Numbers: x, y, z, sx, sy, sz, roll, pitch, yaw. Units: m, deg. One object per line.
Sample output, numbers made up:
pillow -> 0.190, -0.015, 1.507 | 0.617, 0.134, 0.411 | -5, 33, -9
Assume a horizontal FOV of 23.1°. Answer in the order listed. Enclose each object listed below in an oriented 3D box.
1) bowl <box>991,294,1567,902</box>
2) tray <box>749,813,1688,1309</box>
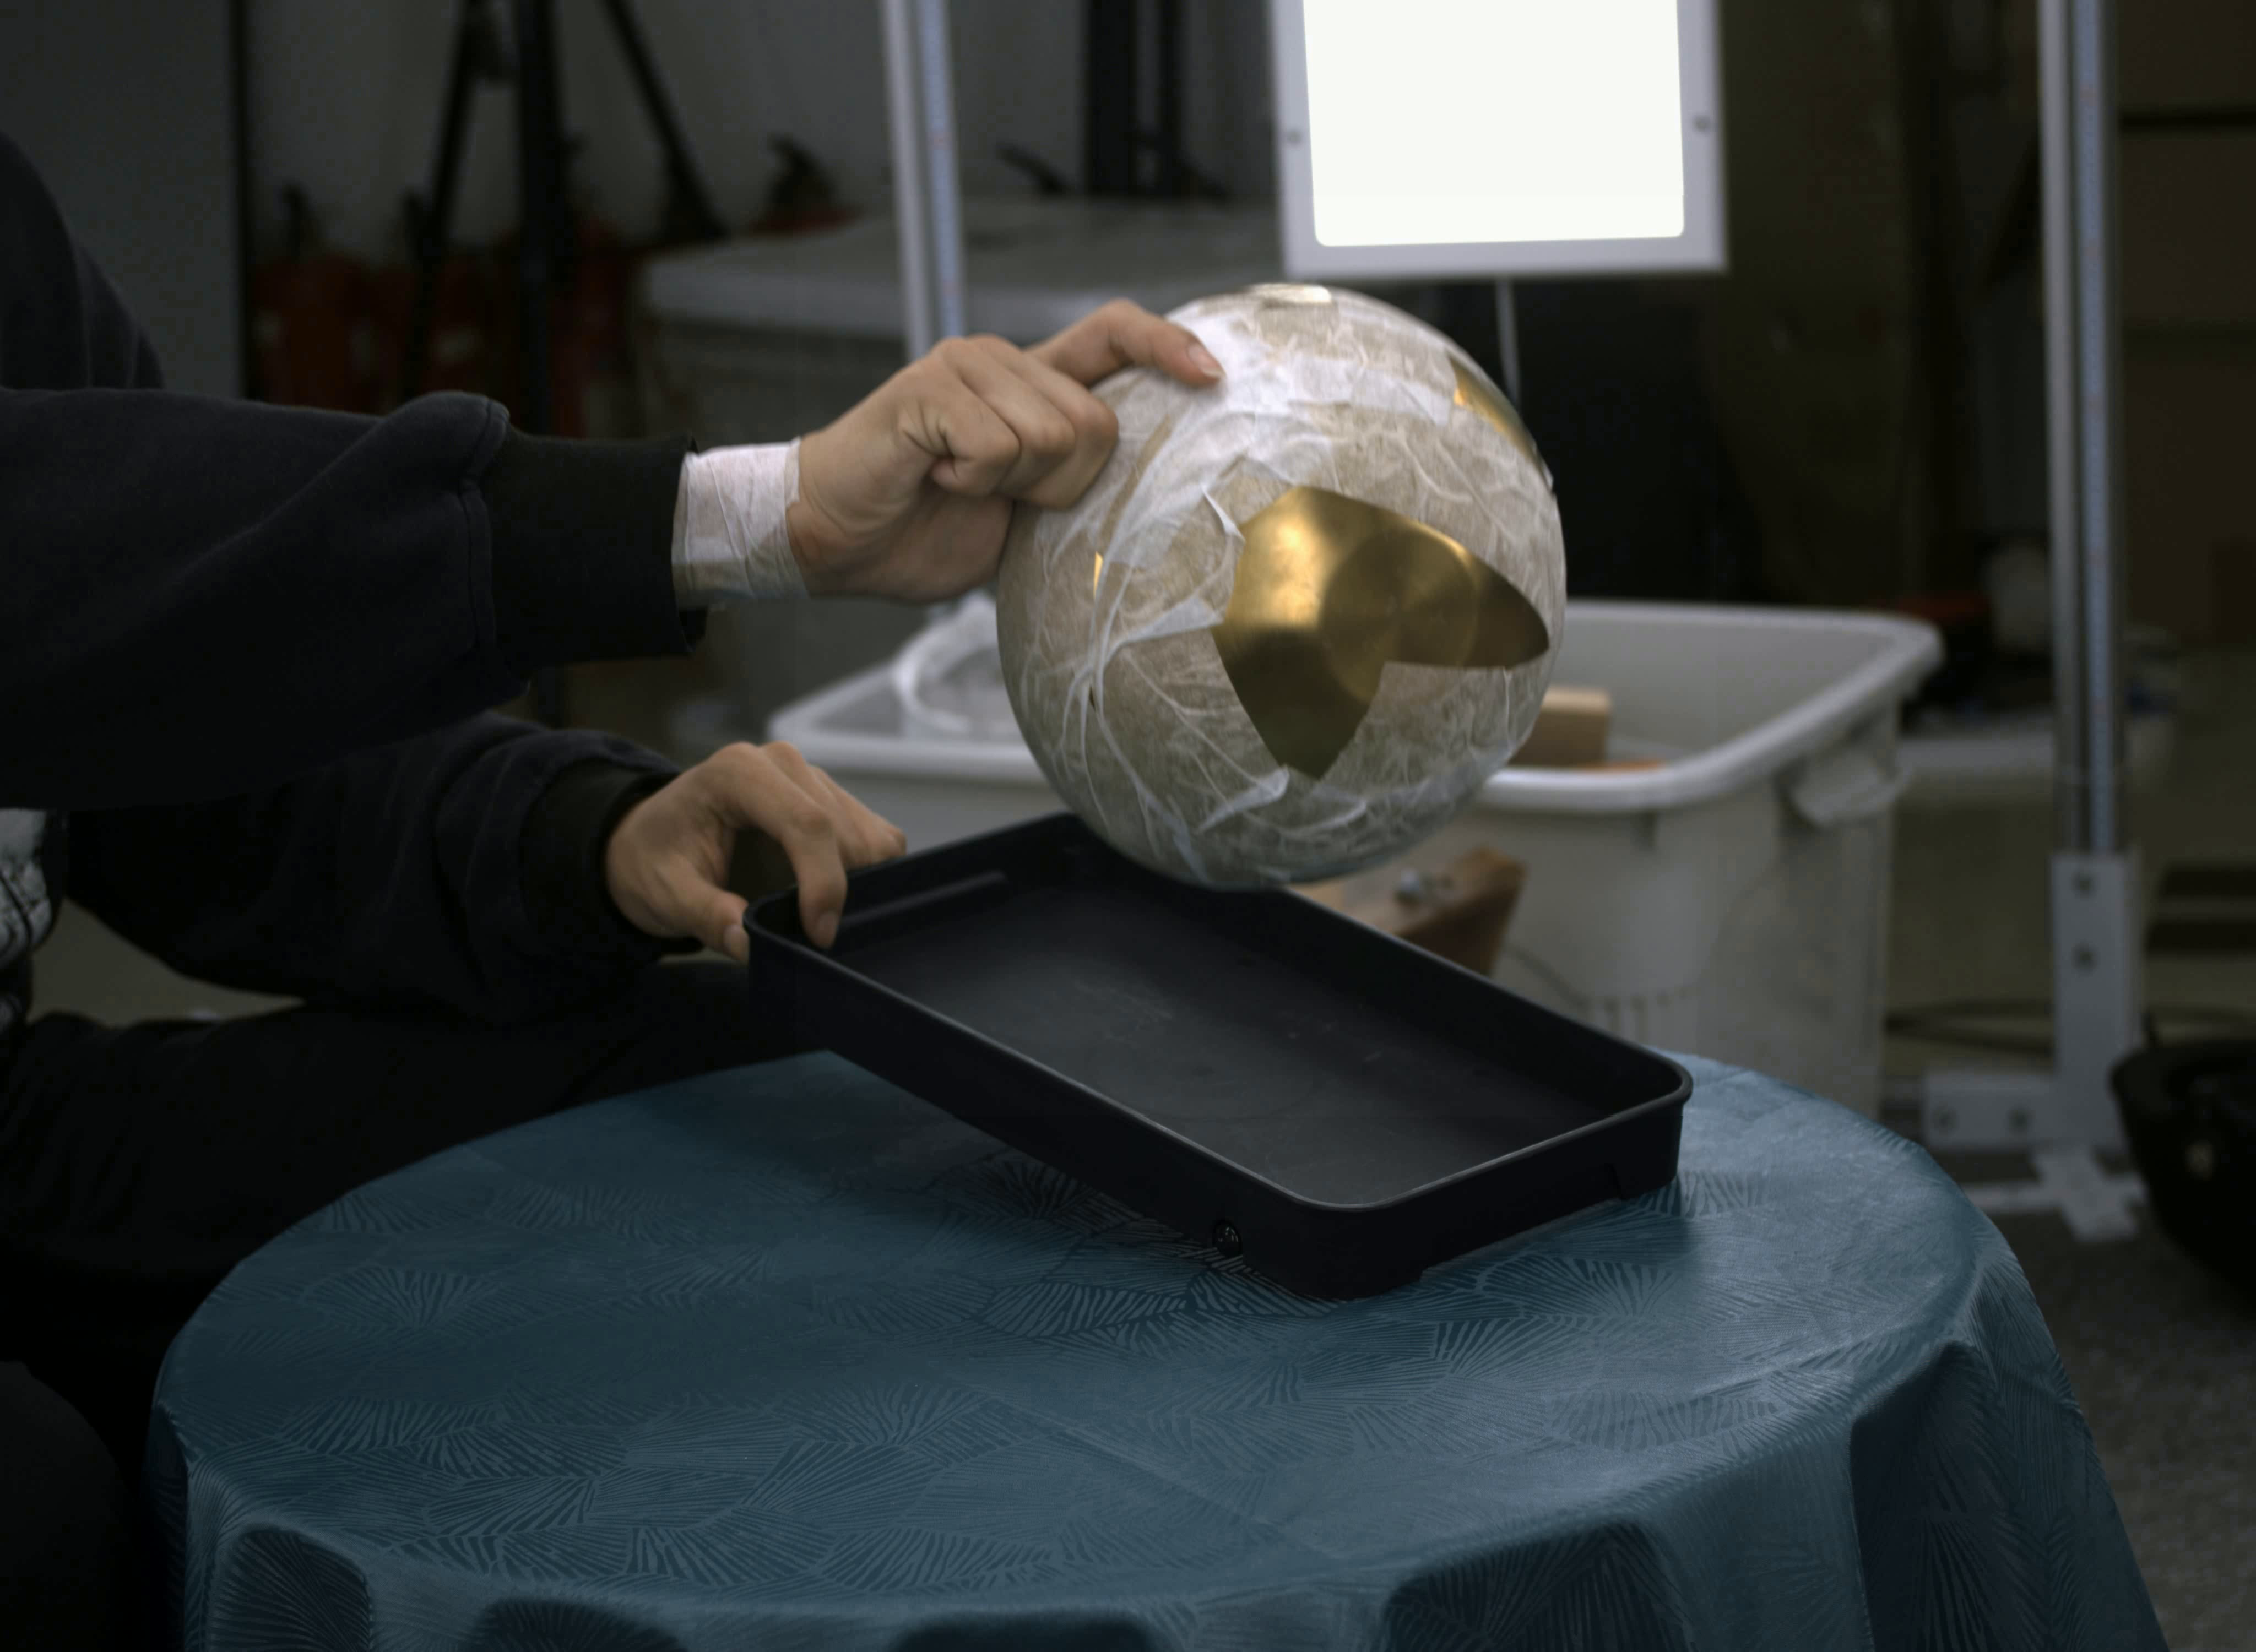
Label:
bowl -> 0.064, -0.066, 1.785 | 0.210, 0.215, 0.096 | -10, 14, -25
tray -> 0.026, 0.075, 1.913 | 0.179, 0.037, 0.324 | -14, 28, -38
